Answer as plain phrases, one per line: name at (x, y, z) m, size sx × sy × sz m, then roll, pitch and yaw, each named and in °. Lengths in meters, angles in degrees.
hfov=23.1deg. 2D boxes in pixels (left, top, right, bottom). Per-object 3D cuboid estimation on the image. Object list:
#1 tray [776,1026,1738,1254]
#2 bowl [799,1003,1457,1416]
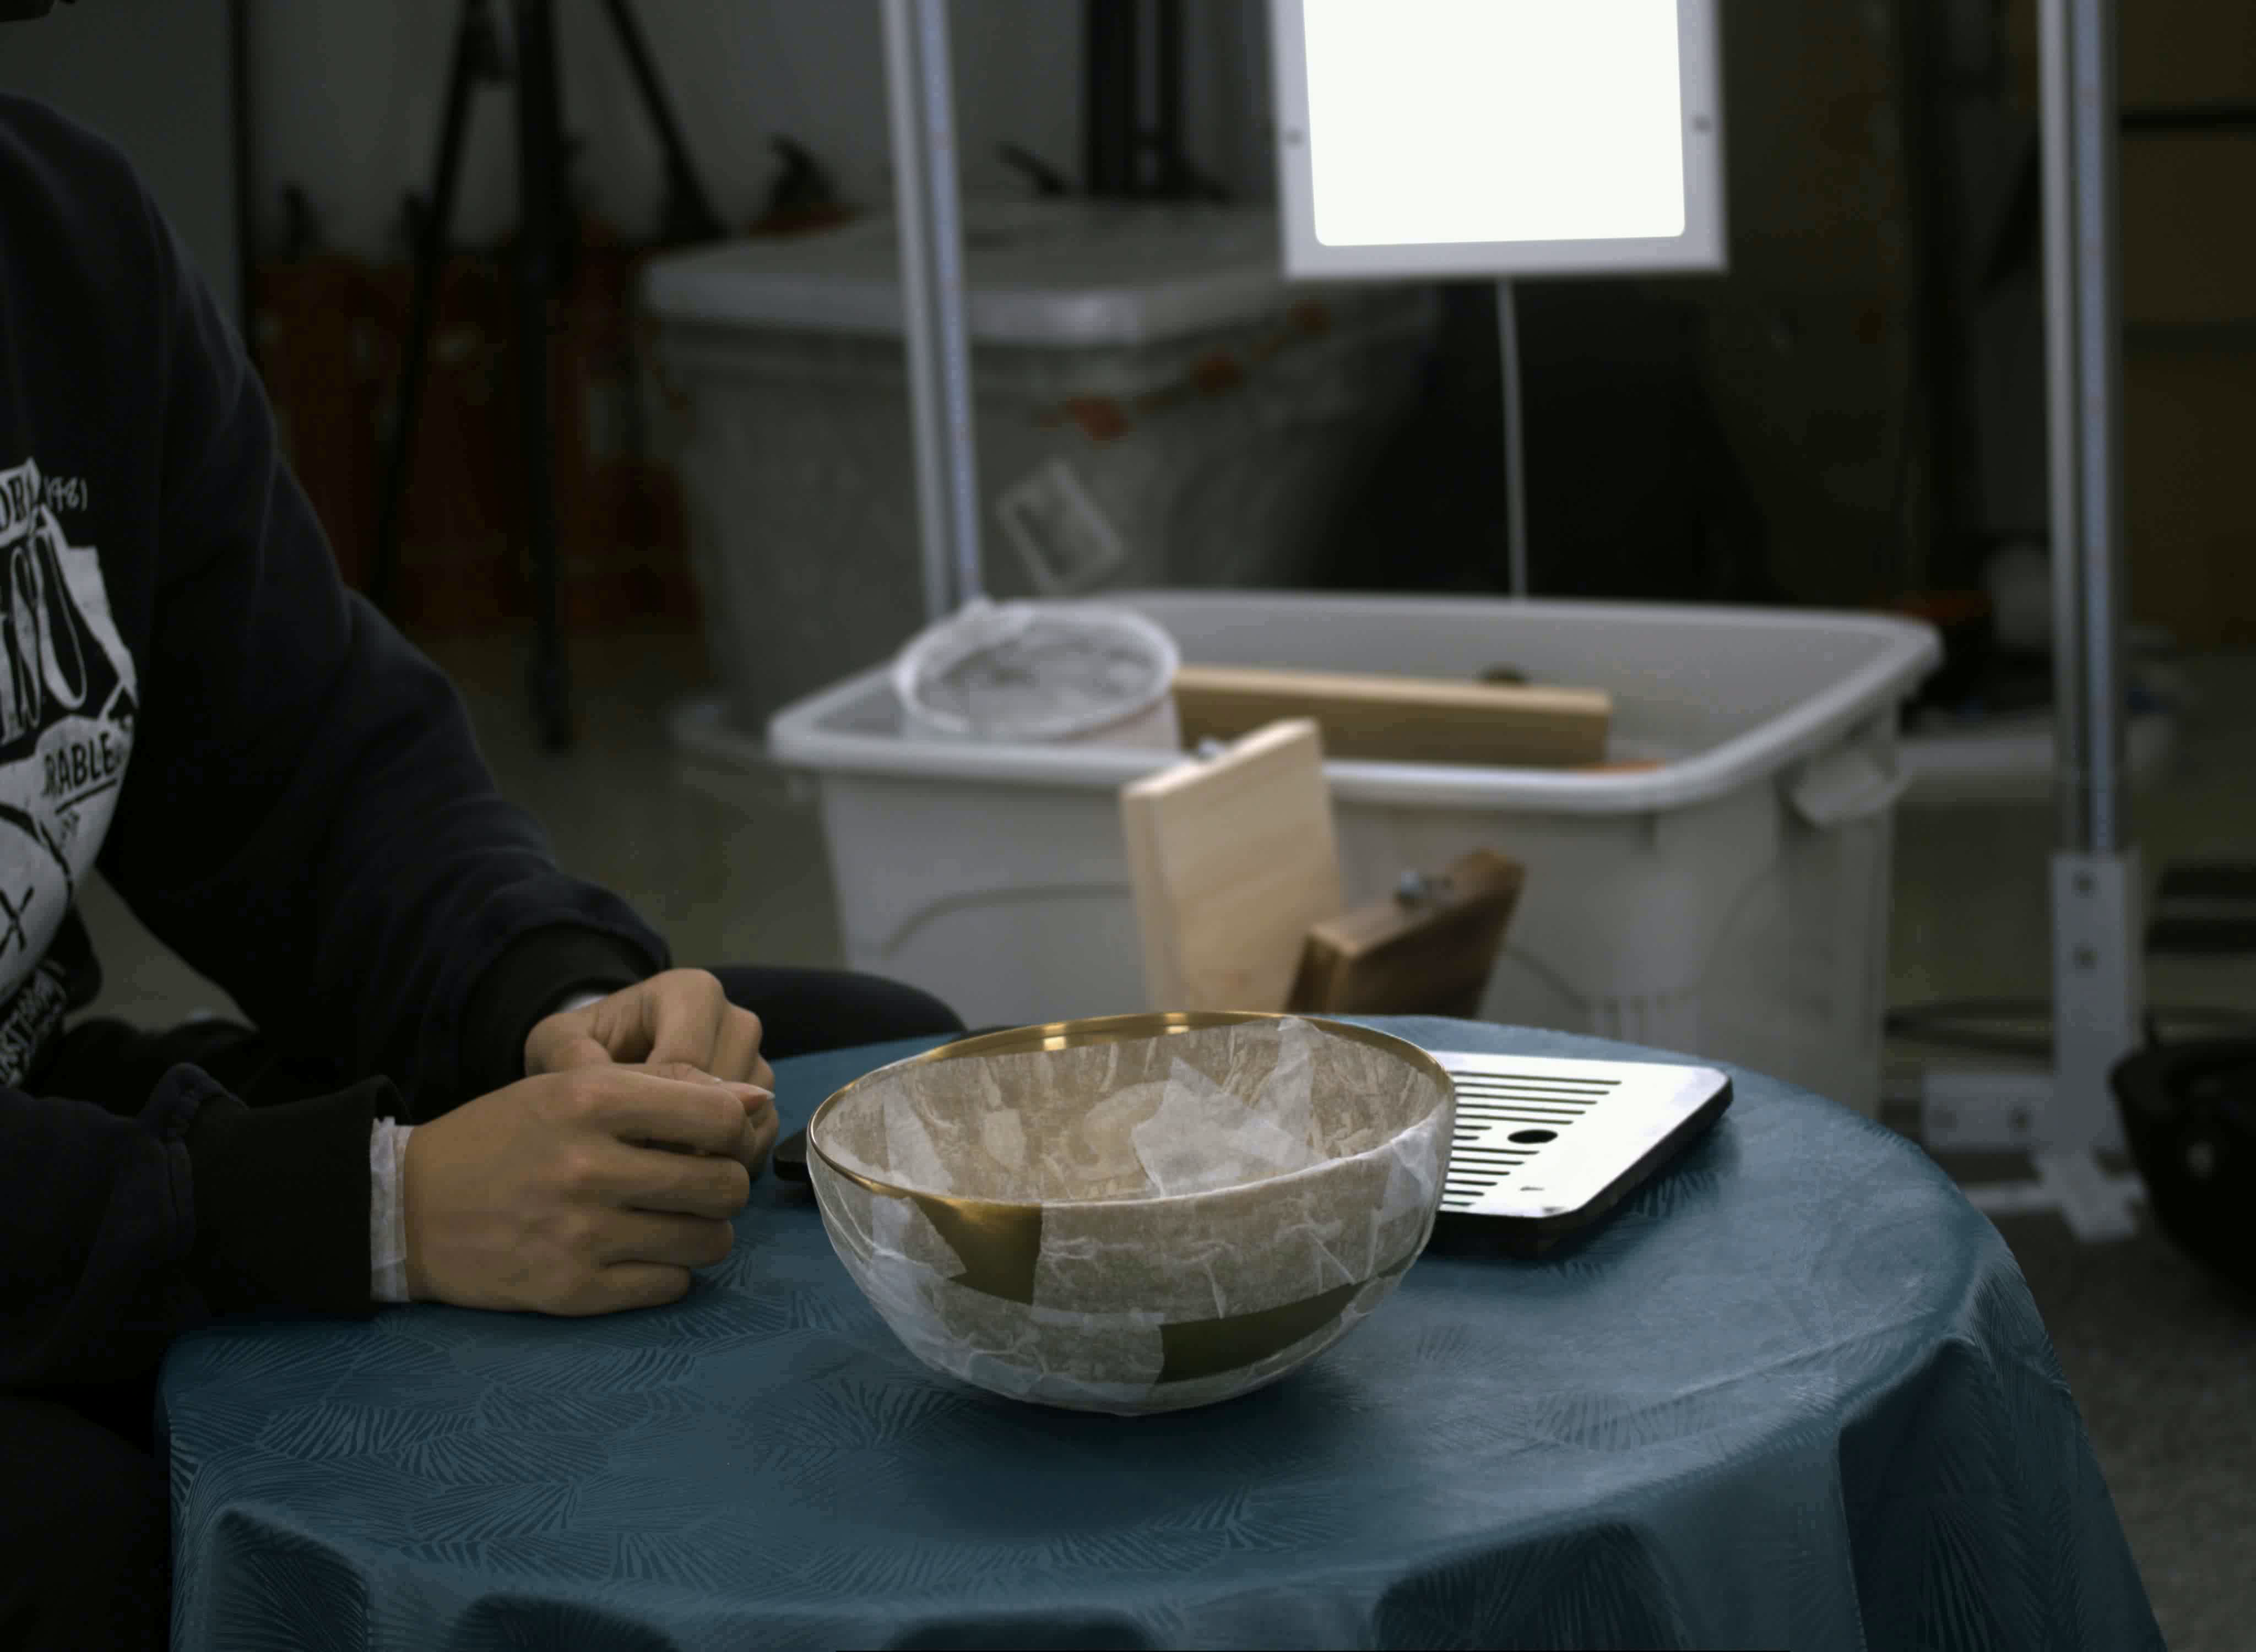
tray at (0.045, 0.108, 1.921) m, size 0.311 × 0.019 × 0.166 m, roll 2°, pitch 15°, yaw 28°
bowl at (0.003, 0.126, 1.705) m, size 0.214 × 0.095 × 0.214 m, roll -6°, pitch 15°, yaw 0°
